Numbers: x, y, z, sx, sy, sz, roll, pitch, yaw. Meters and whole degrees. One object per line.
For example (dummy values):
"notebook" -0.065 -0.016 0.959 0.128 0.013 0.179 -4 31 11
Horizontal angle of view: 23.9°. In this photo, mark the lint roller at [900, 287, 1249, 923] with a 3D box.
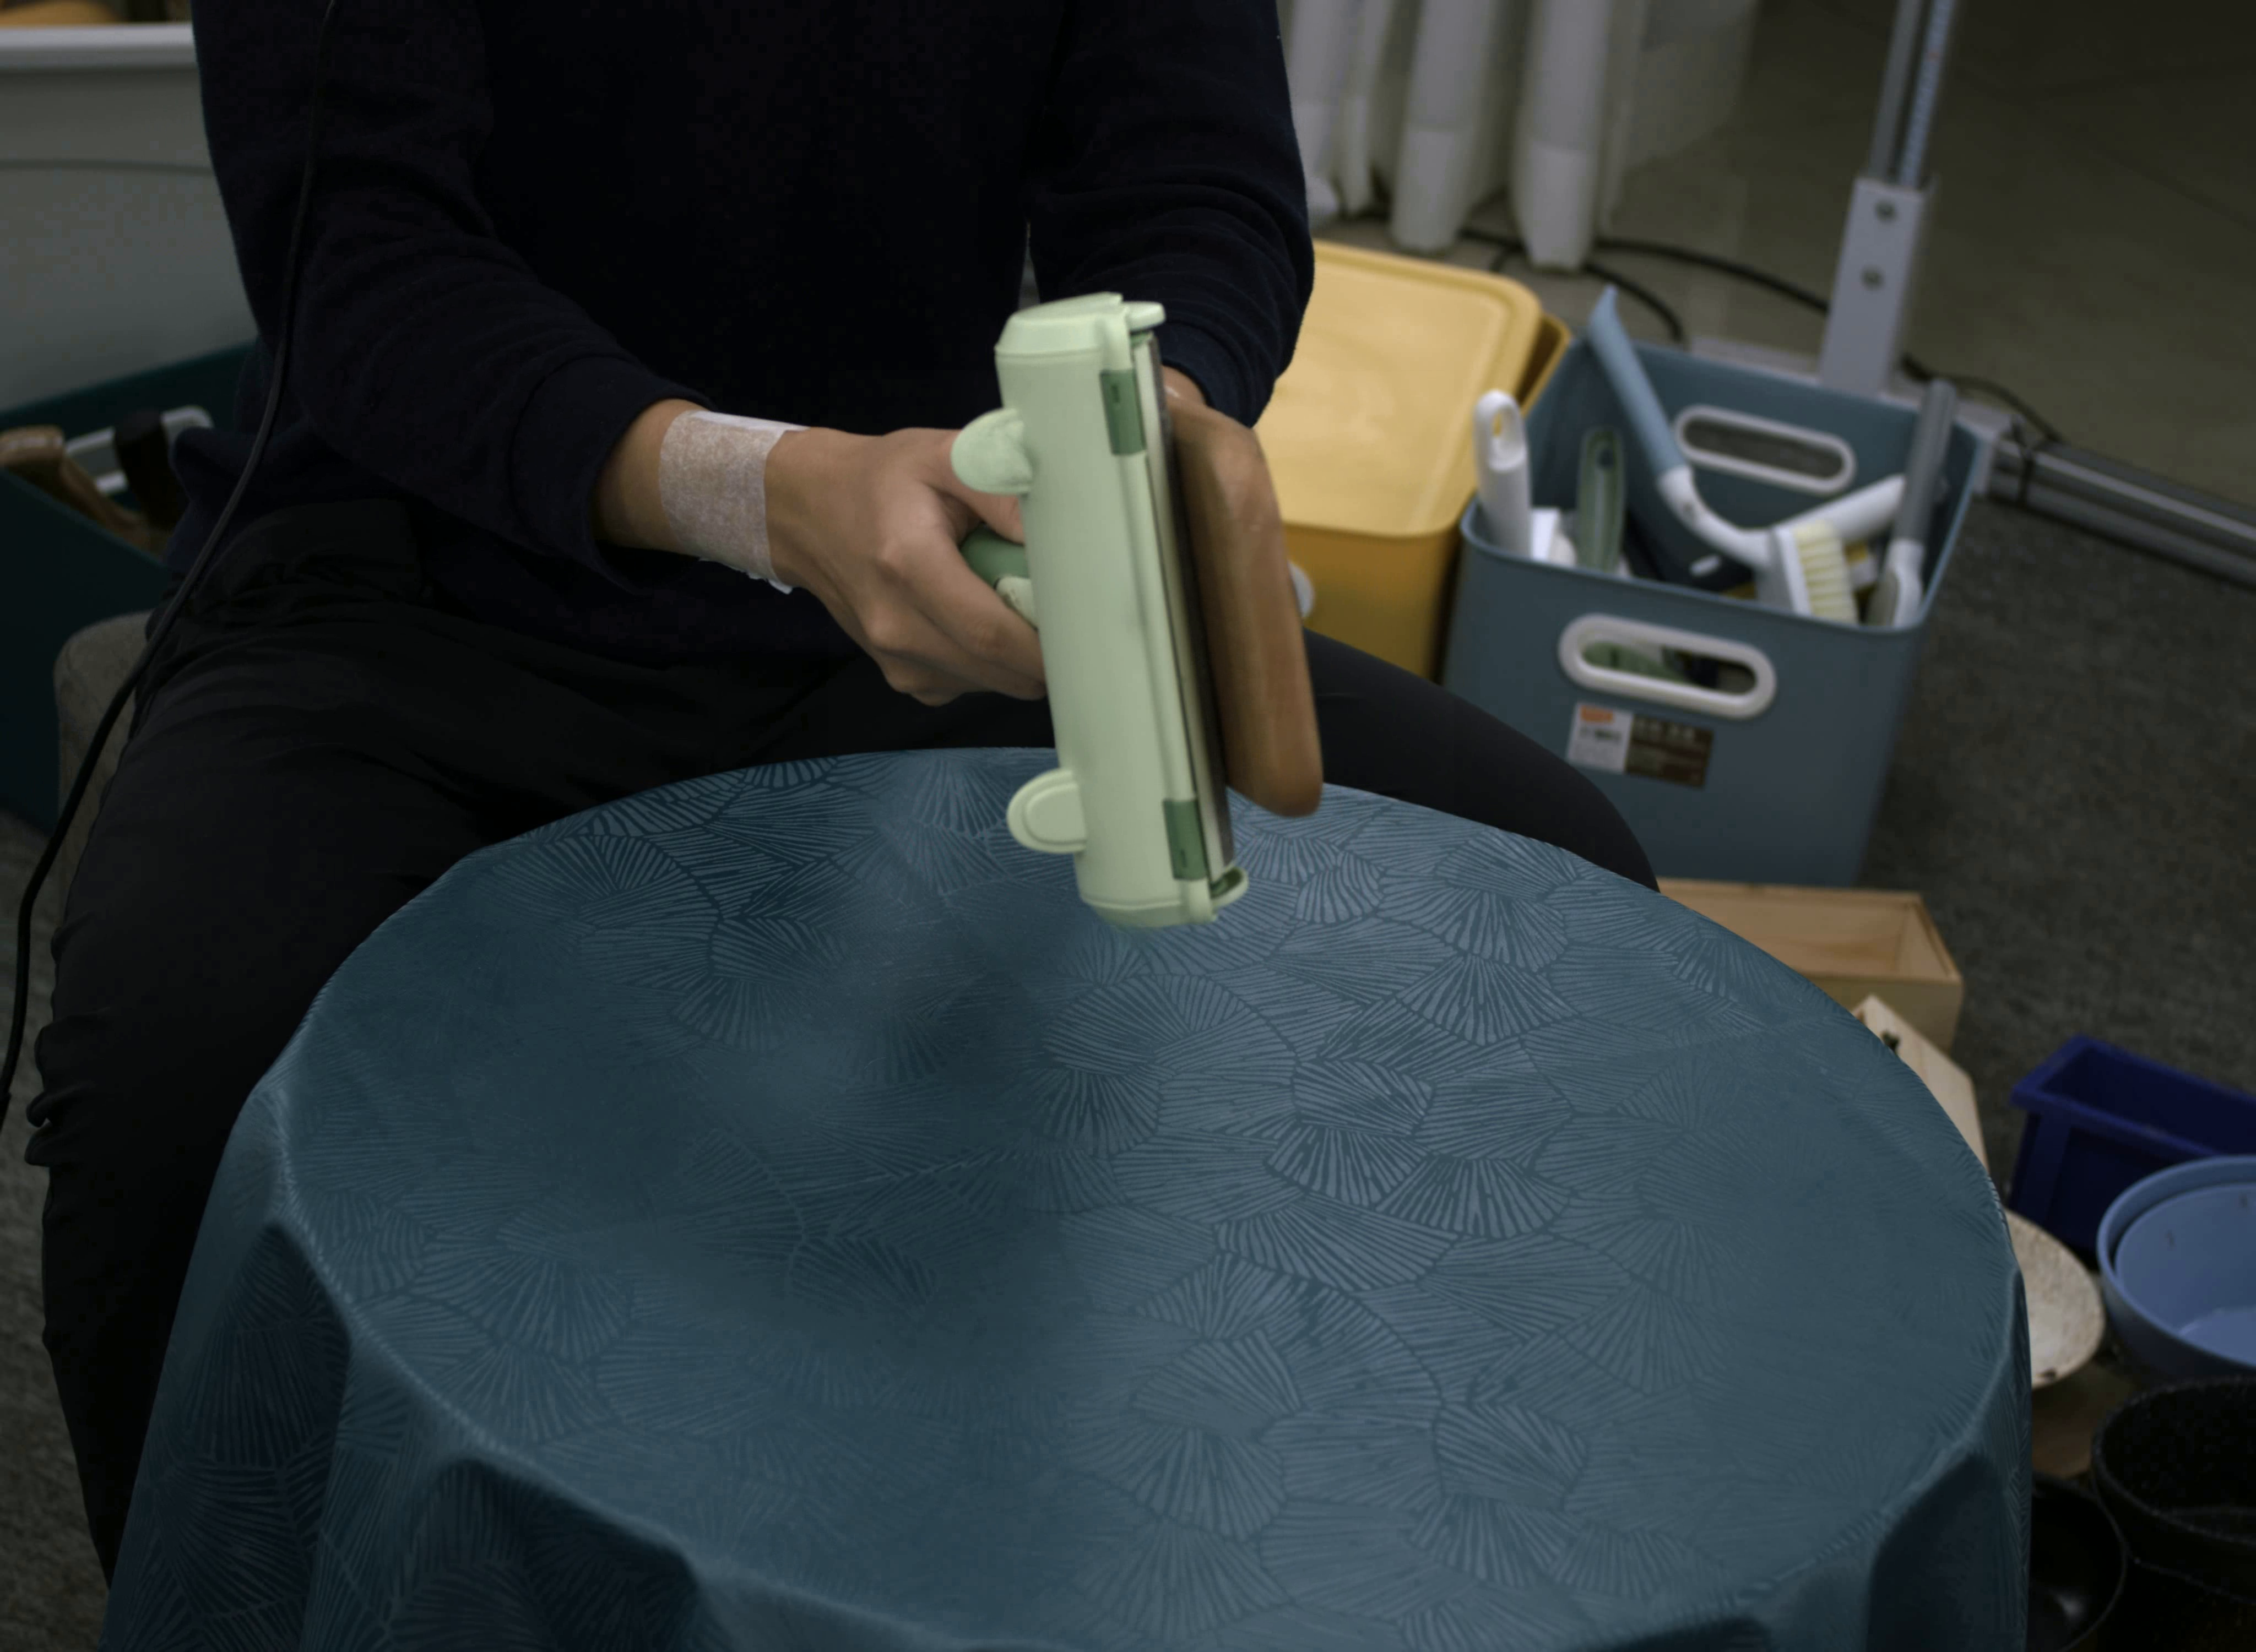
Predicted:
"lint roller" -0.042 -0.071 1.712 0.082 0.198 0.184 -17 14 -34

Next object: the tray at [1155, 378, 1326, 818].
"tray" 0.017 -0.080 1.728 0.023 0.130 0.252 -10 11 -12
